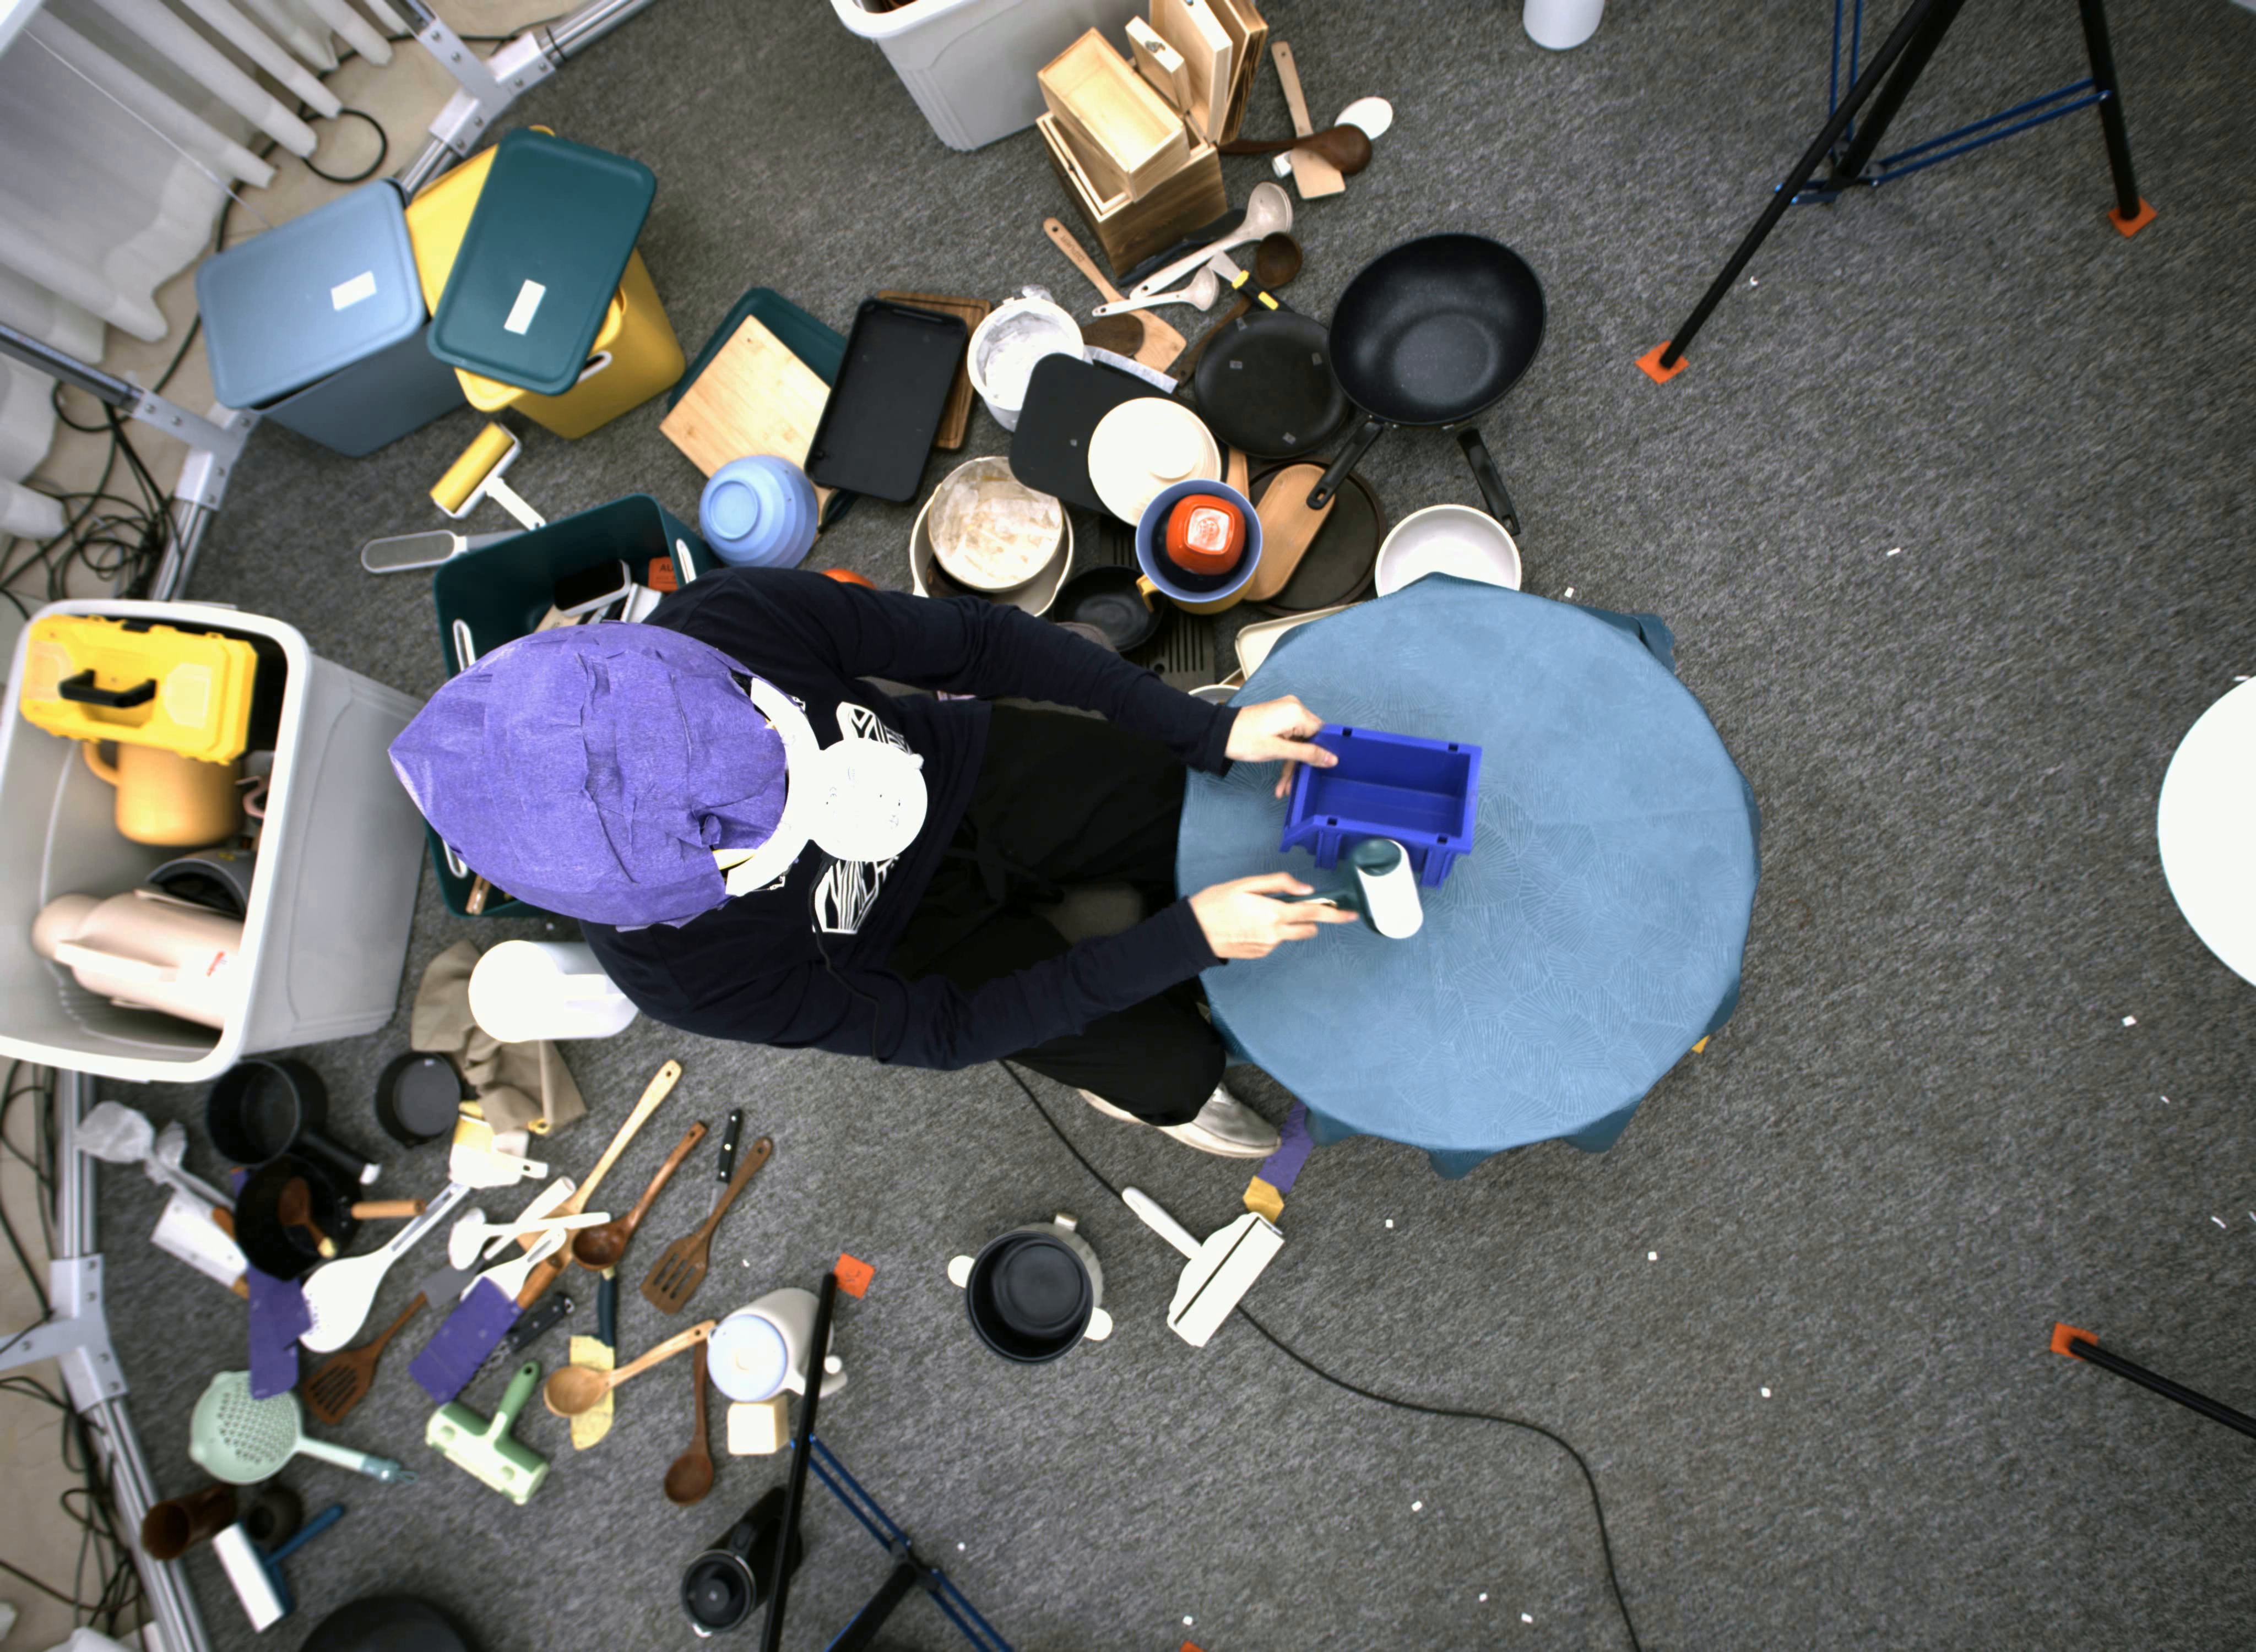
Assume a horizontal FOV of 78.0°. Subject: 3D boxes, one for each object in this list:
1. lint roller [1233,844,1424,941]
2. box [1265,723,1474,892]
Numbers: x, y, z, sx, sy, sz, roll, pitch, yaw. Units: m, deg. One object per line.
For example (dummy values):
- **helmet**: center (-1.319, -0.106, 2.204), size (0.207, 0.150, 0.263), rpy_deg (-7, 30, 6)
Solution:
- **lint roller**: center (0.191, 0.078, 1.344), size (0.181, 0.137, 0.047), rpy_deg (-14, 50, 13)
- **box**: center (0.236, -0.020, 1.356), size (0.179, 0.083, 0.121), rpy_deg (12, 63, 7)
